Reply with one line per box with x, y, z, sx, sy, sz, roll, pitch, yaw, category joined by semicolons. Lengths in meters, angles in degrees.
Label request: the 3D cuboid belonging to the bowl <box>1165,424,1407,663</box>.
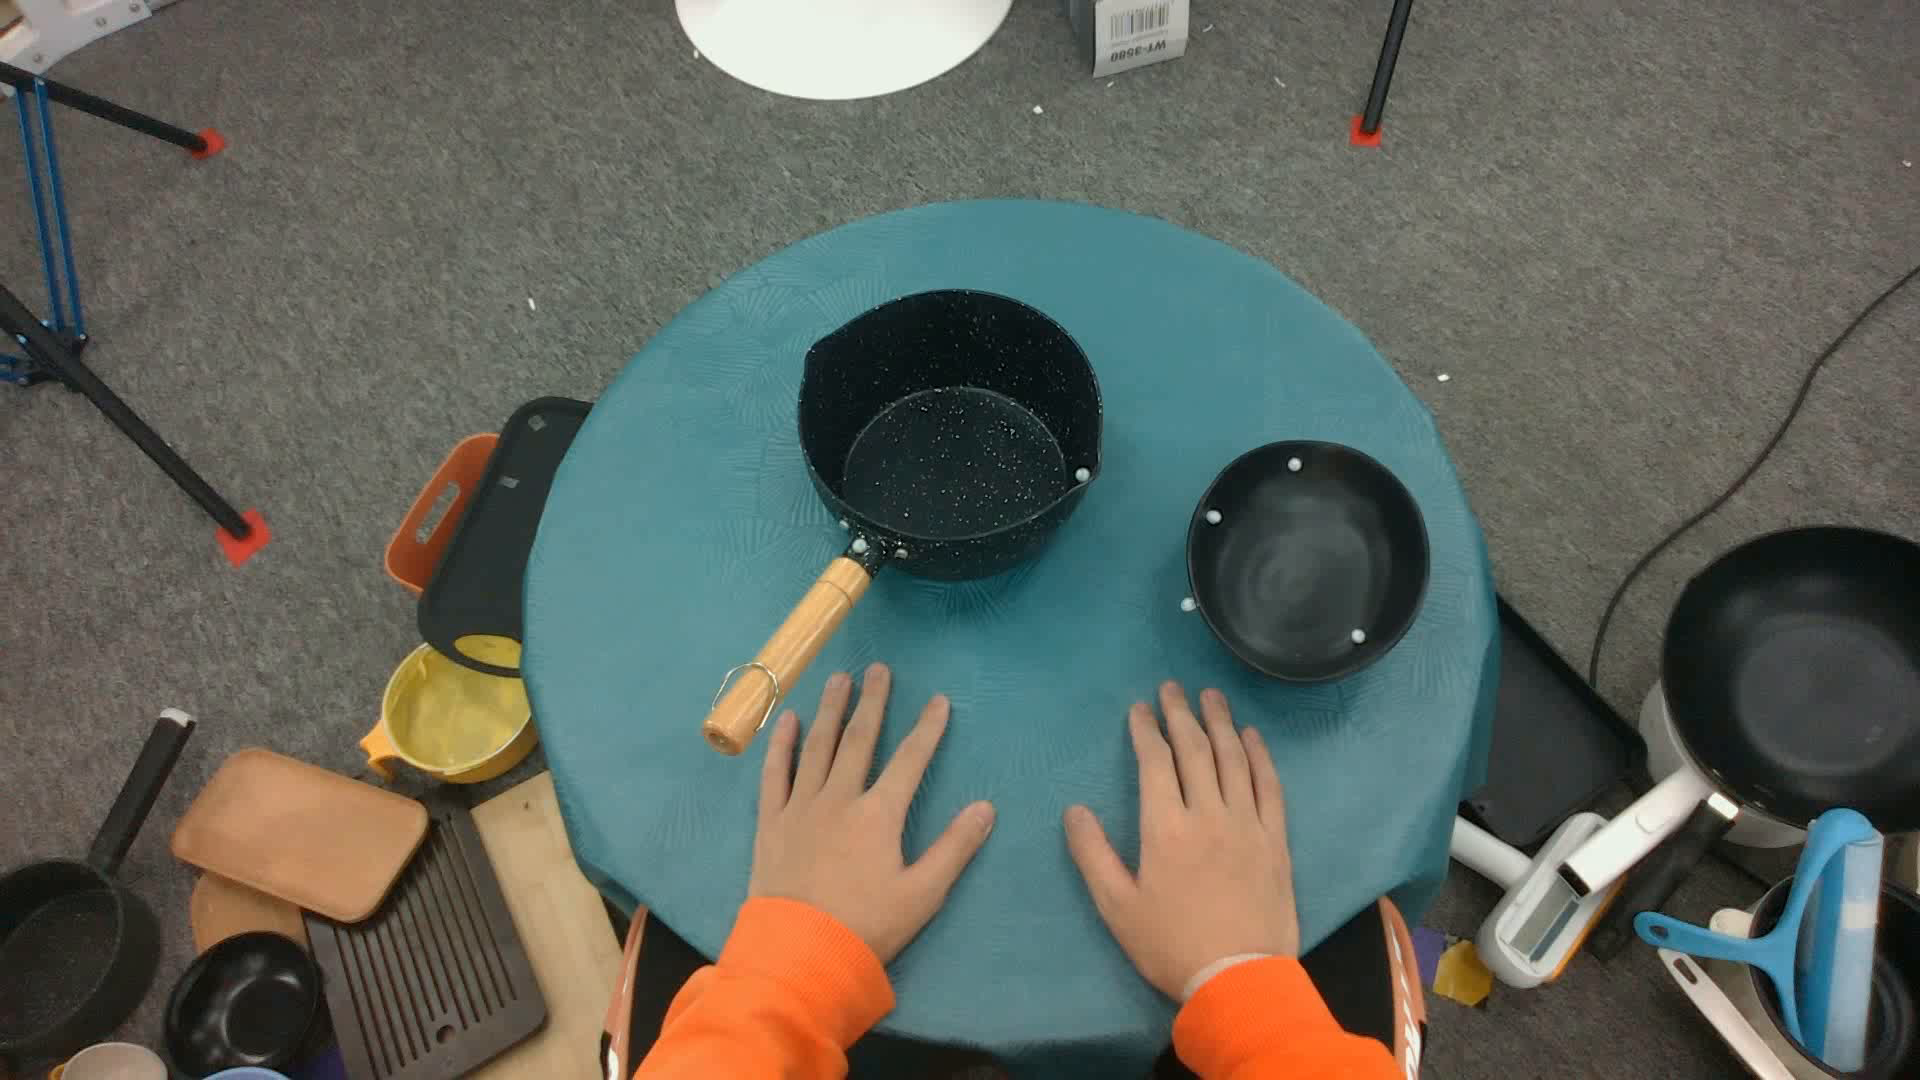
0.189;0.006;0.821;0.137;0.066;0.171;17;60;10;bowl

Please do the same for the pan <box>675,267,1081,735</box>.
-0.055;-0.014;0.813;0.207;0.108;0.344;24;62;12;pan
